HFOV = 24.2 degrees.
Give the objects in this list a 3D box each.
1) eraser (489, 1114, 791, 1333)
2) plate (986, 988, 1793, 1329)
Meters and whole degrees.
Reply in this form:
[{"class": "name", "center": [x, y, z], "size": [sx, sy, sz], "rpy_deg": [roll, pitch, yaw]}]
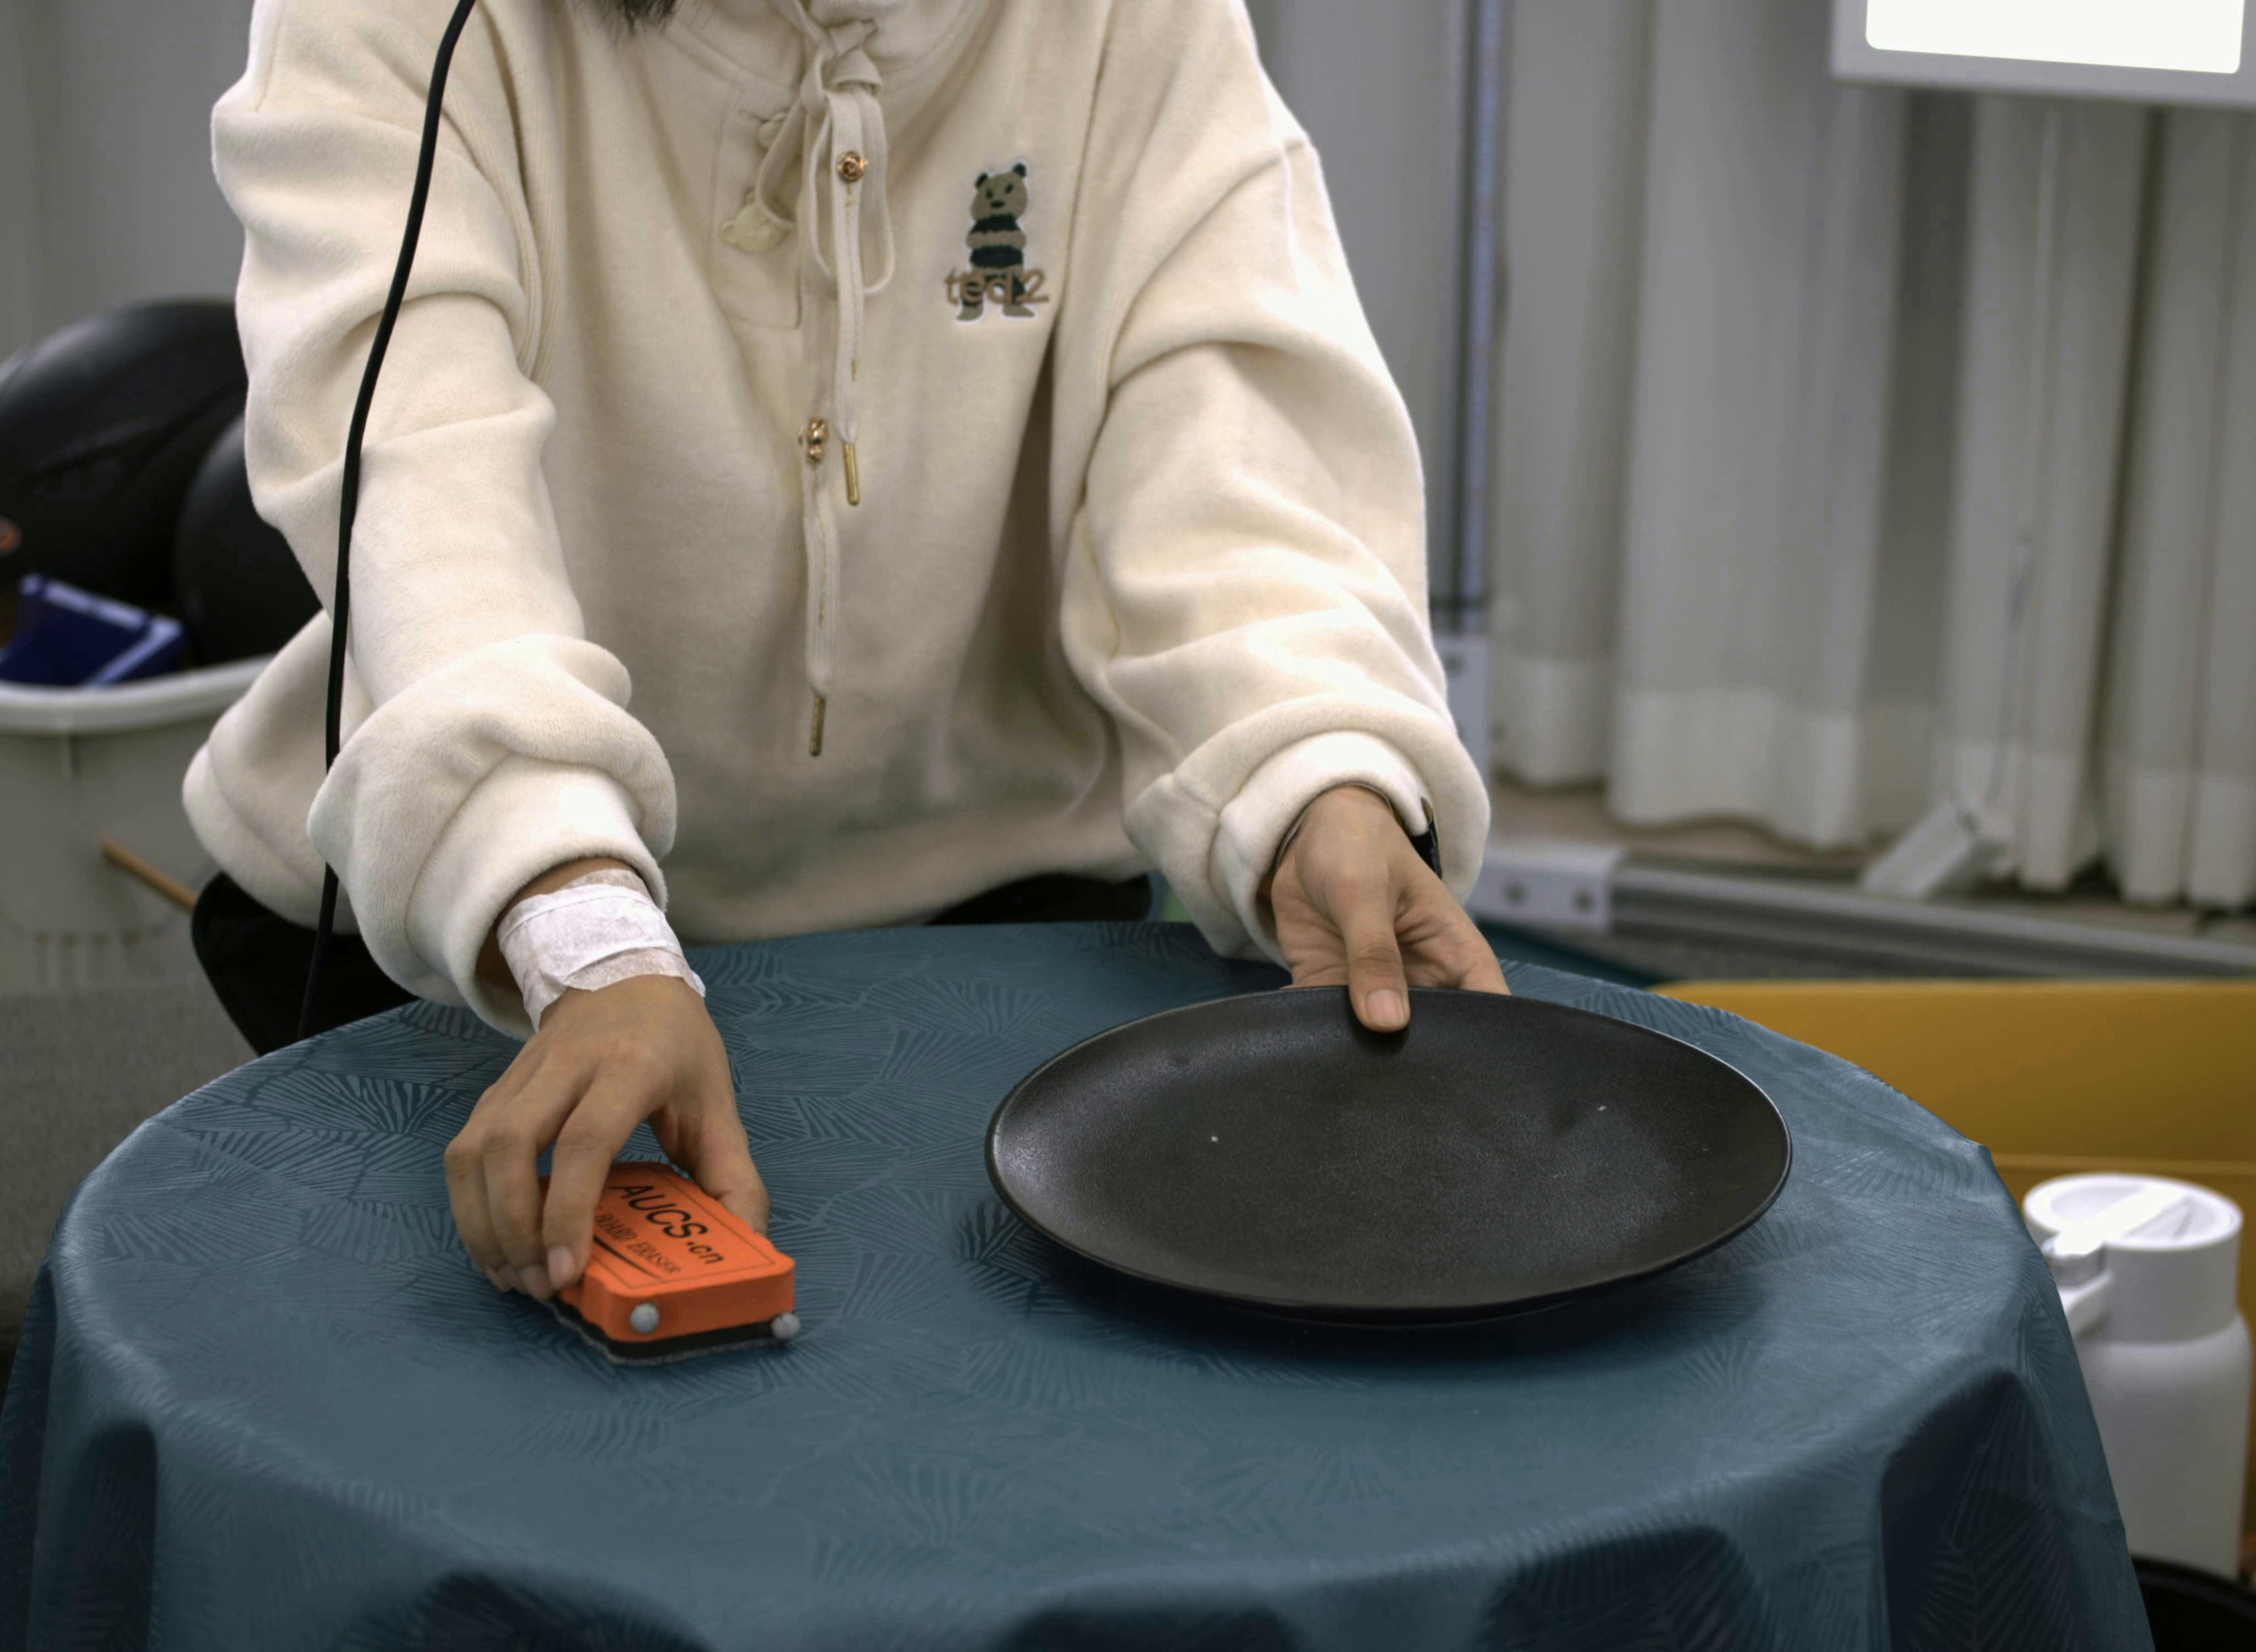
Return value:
[{"class": "eraser", "center": [-0.142, 0.114, 1.522], "size": [0.059, 0.023, 0.106], "rpy_deg": [-12, 21, -24]}, {"class": "plate", "center": [0.078, 0.102, 1.588], "size": [0.243, 0.023, 0.243], "rpy_deg": [0, 20, 1]}]
